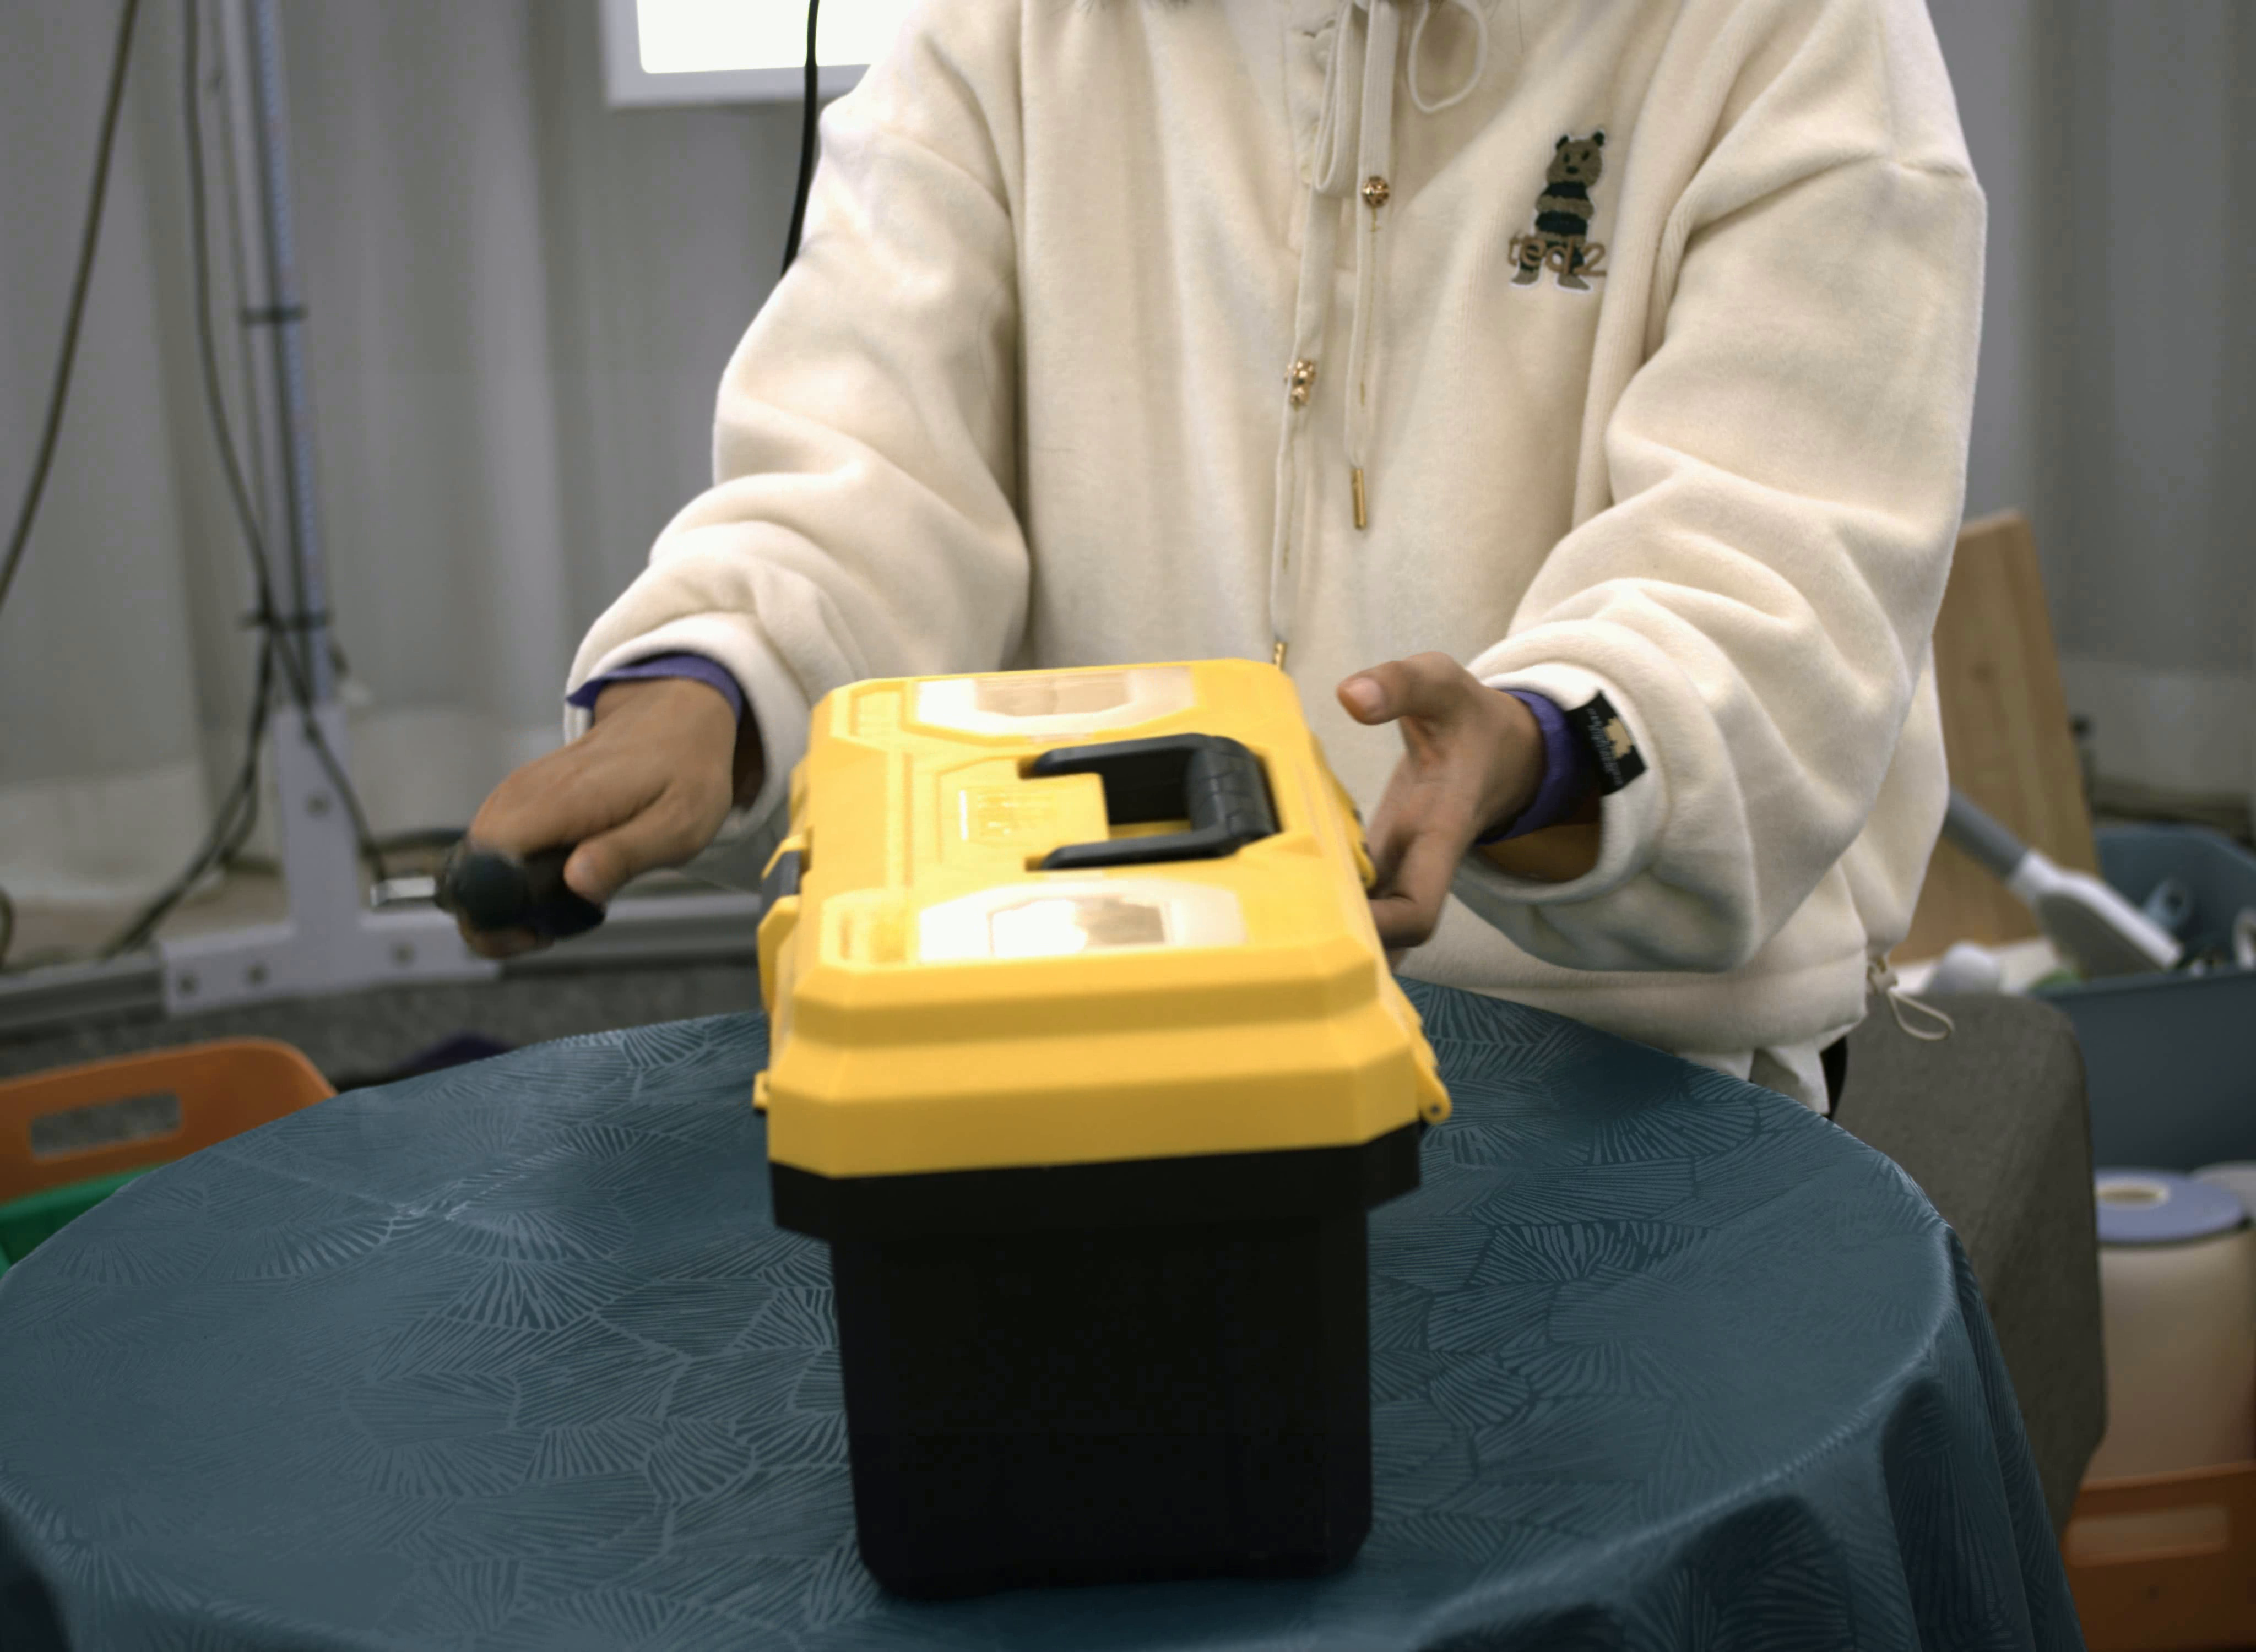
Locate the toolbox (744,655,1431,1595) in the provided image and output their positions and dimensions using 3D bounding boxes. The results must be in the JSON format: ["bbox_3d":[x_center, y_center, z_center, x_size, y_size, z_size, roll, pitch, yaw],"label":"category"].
[{"bbox_3d":[-0.014,0.074,1.534,0.180,0.172,0.354,-3,15,-1],"label":"toolbox"}]

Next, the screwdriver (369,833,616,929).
[{"bbox_3d":[-0.203,0.015,1.717,0.031,0.031,0.195,2,-2,16],"label":"screwdriver"}]
